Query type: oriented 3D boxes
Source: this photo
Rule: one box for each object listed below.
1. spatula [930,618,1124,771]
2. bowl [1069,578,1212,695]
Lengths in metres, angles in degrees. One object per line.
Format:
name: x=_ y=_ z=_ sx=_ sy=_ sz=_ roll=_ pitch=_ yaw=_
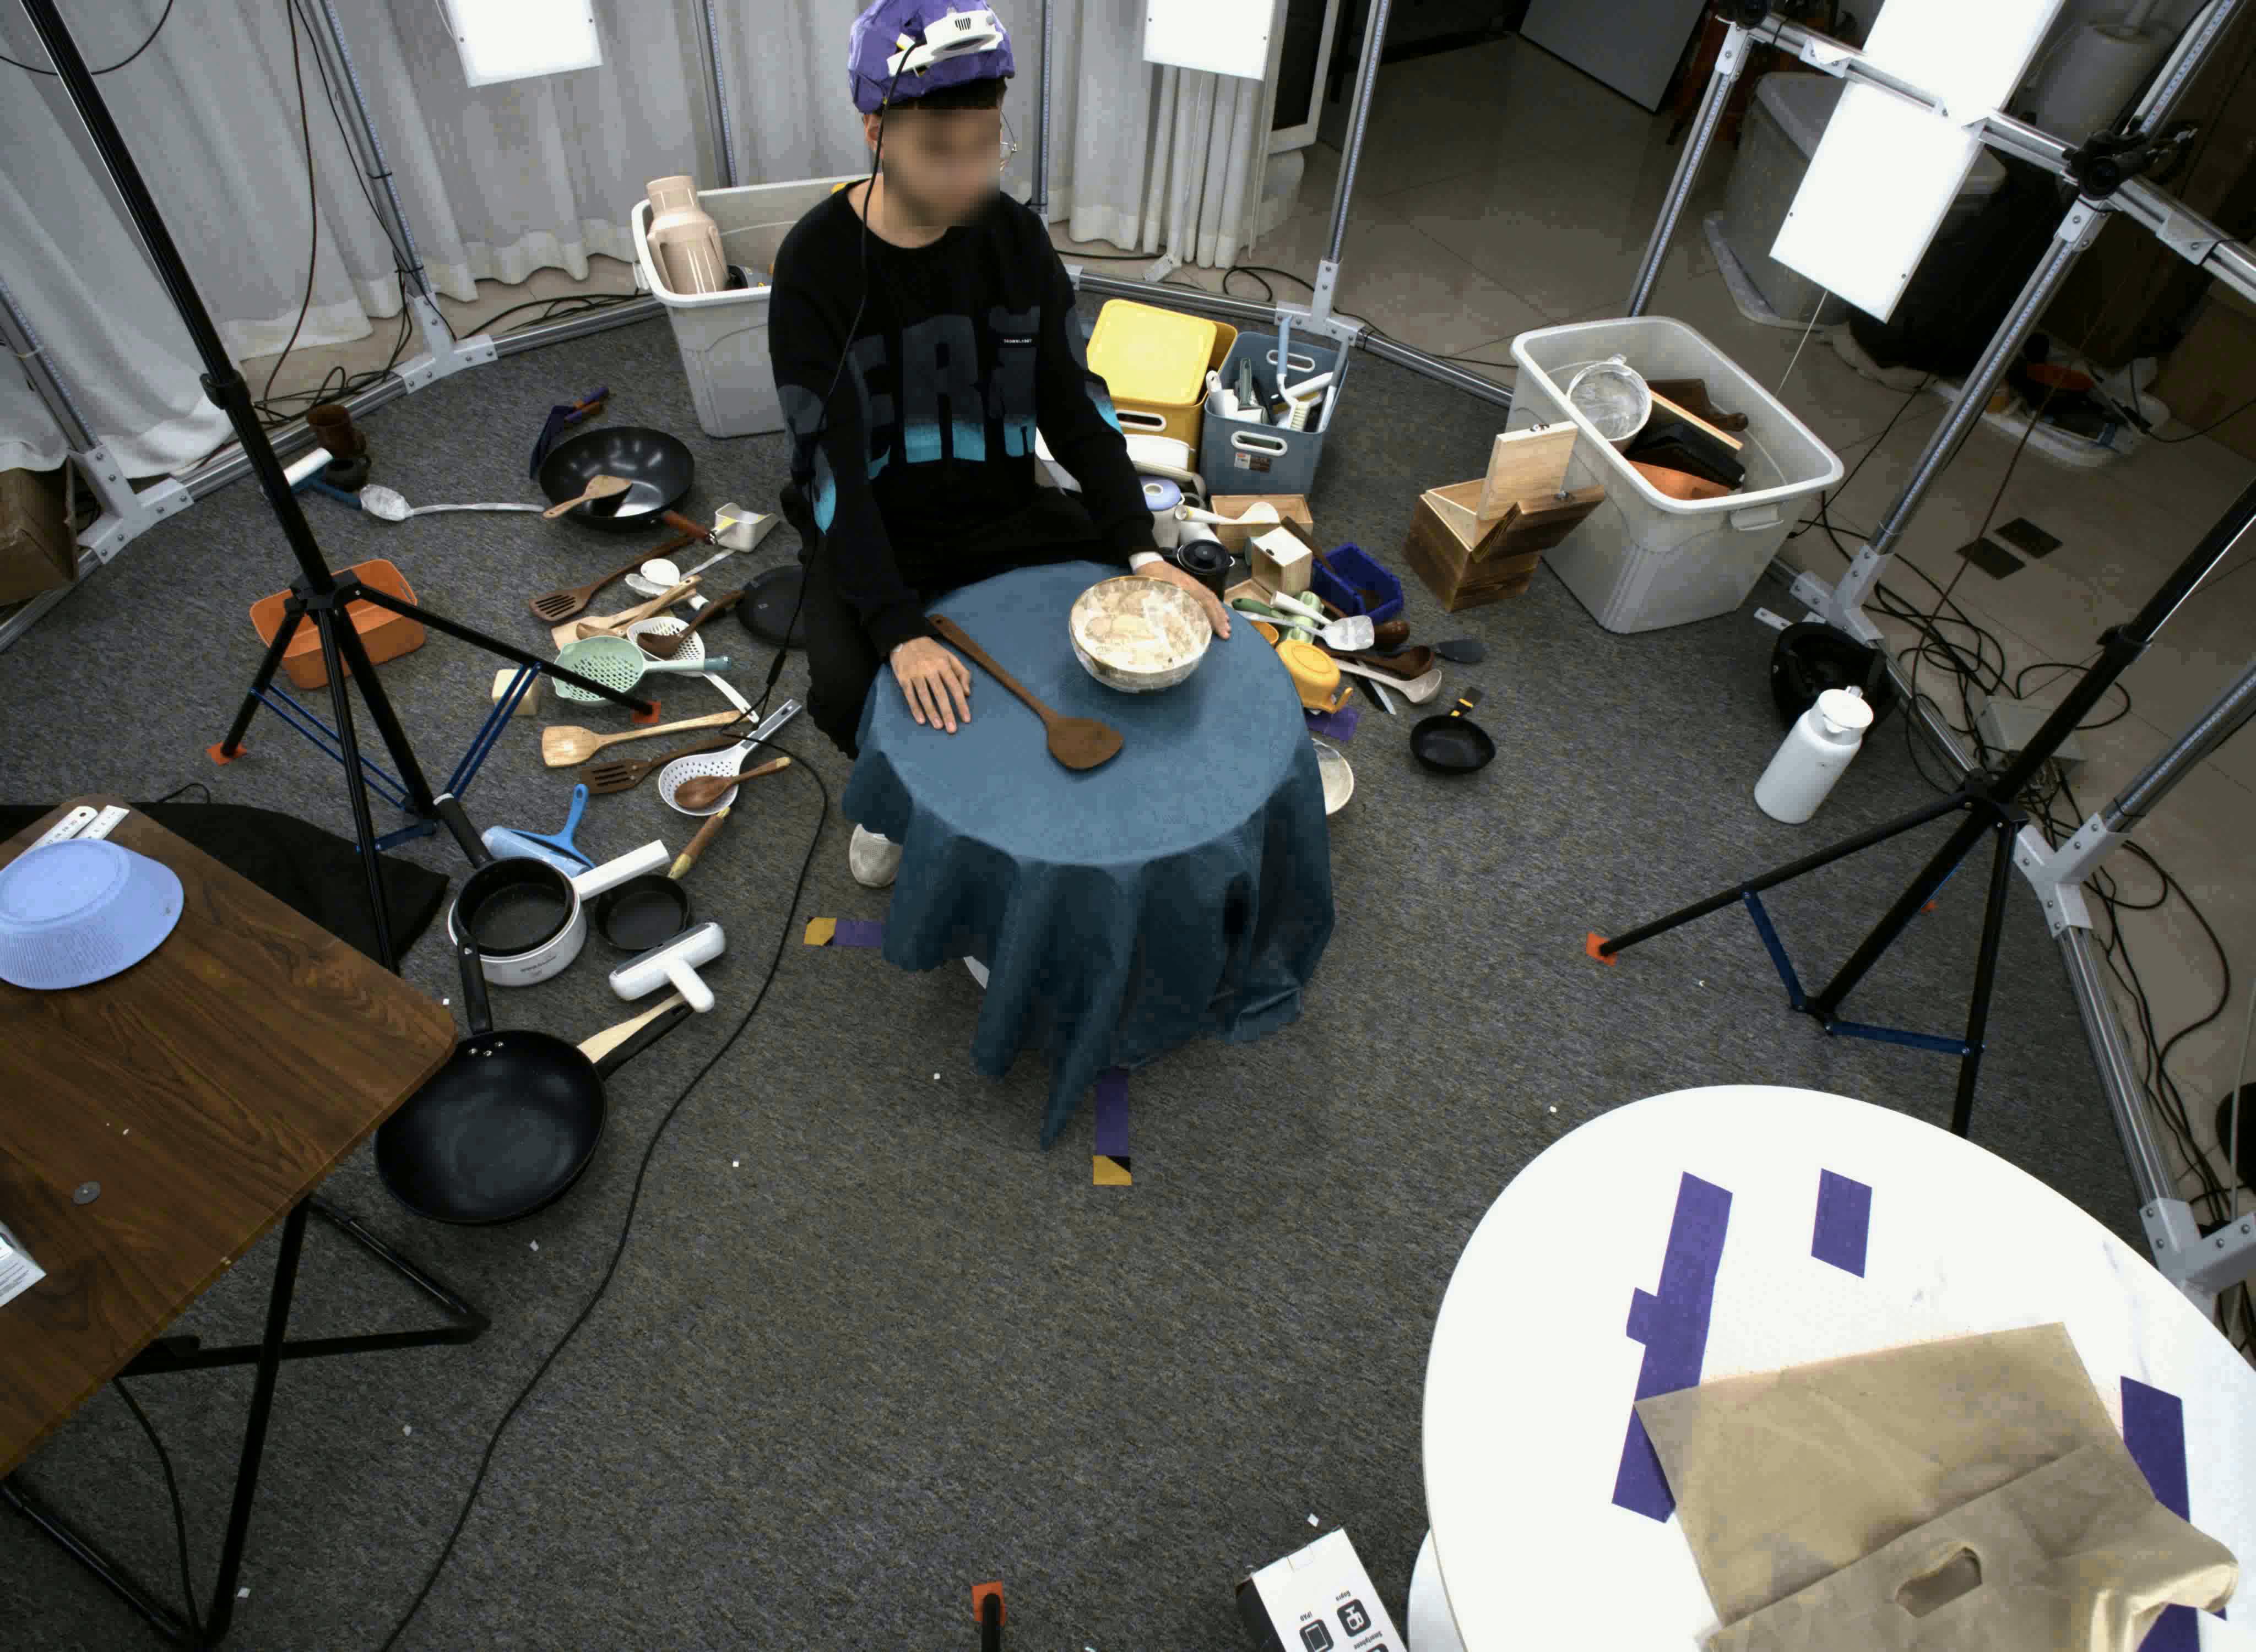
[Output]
spatula: x=-0.160 y=-0.199 z=1.838 sx=0.097 sy=0.015 sz=0.392 roll=-33 pitch=58 yaw=-28
bowl: x=0.018 y=-0.259 z=1.852 sx=0.214 sy=0.092 sz=0.220 roll=1 pitch=48 yaw=-1
